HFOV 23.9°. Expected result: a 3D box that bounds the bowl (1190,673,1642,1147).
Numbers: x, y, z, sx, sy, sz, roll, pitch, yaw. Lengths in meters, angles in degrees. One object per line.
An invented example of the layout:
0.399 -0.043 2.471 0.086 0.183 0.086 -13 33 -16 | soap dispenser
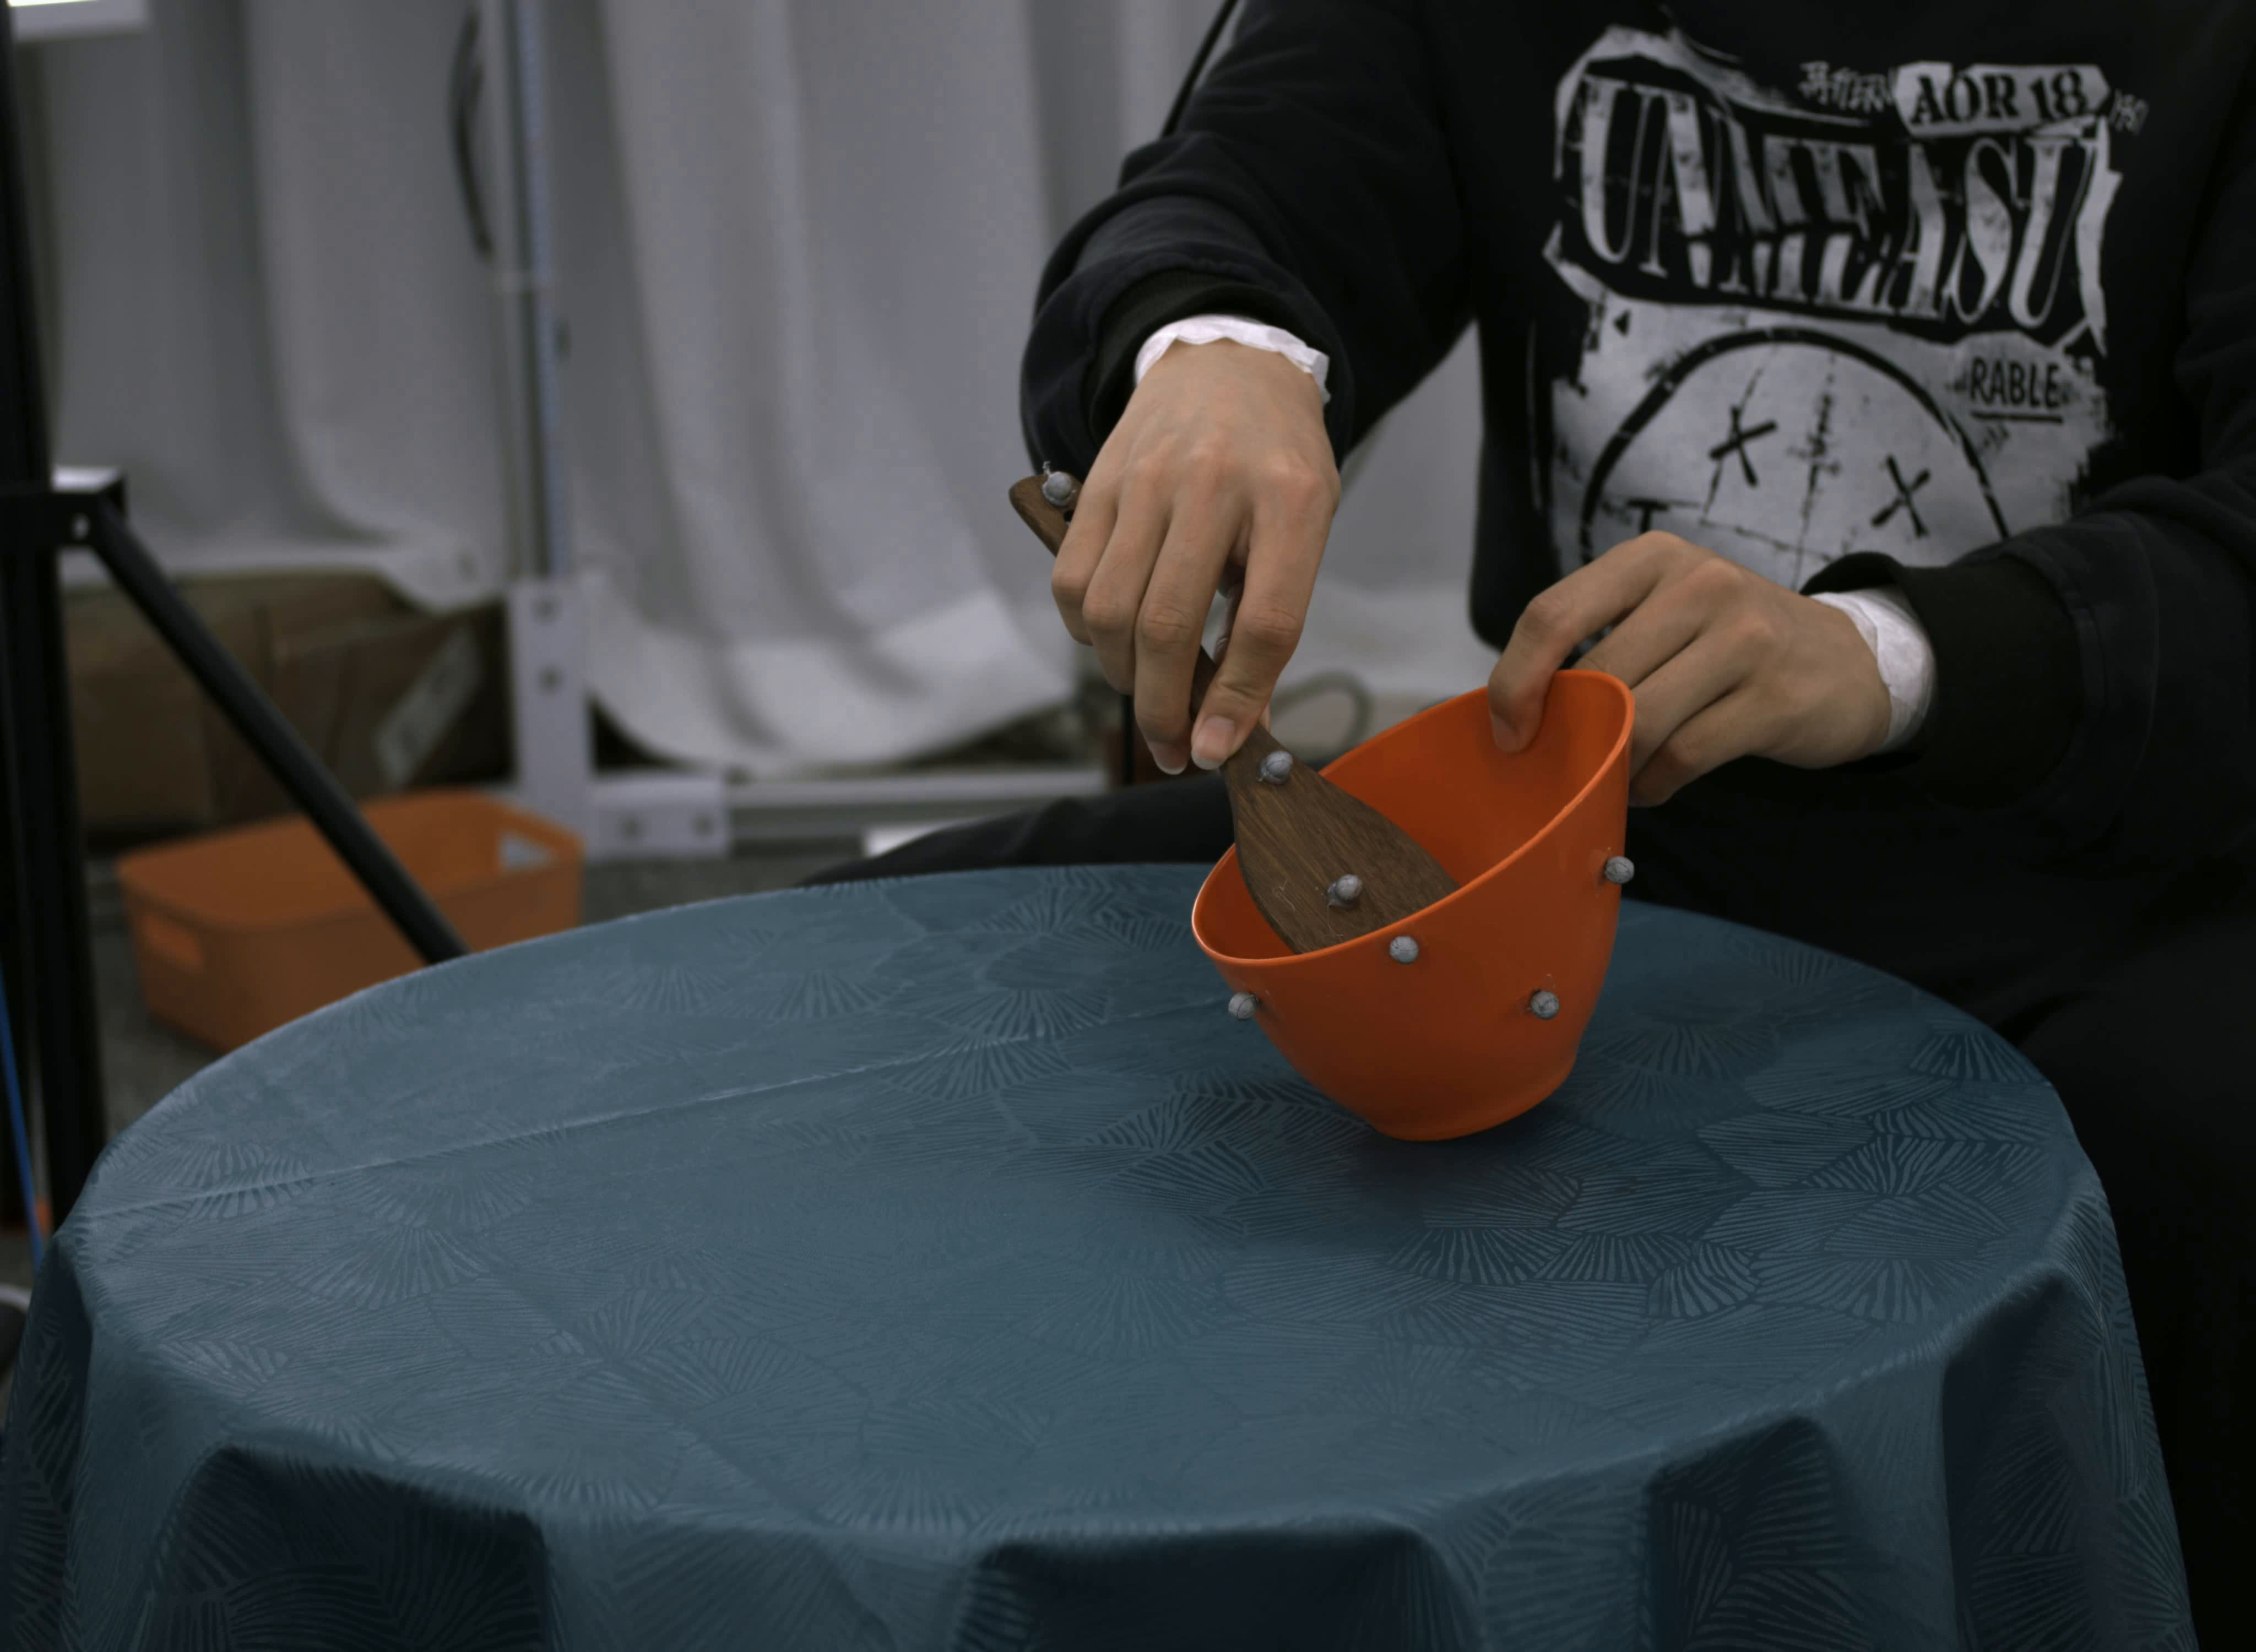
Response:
0.097 0.033 1.585 0.148 0.104 0.149 -19 23 7 | bowl

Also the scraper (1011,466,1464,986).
0.029 -0.032 1.595 0.074 0.011 0.215 -13 55 -39 | scraper
